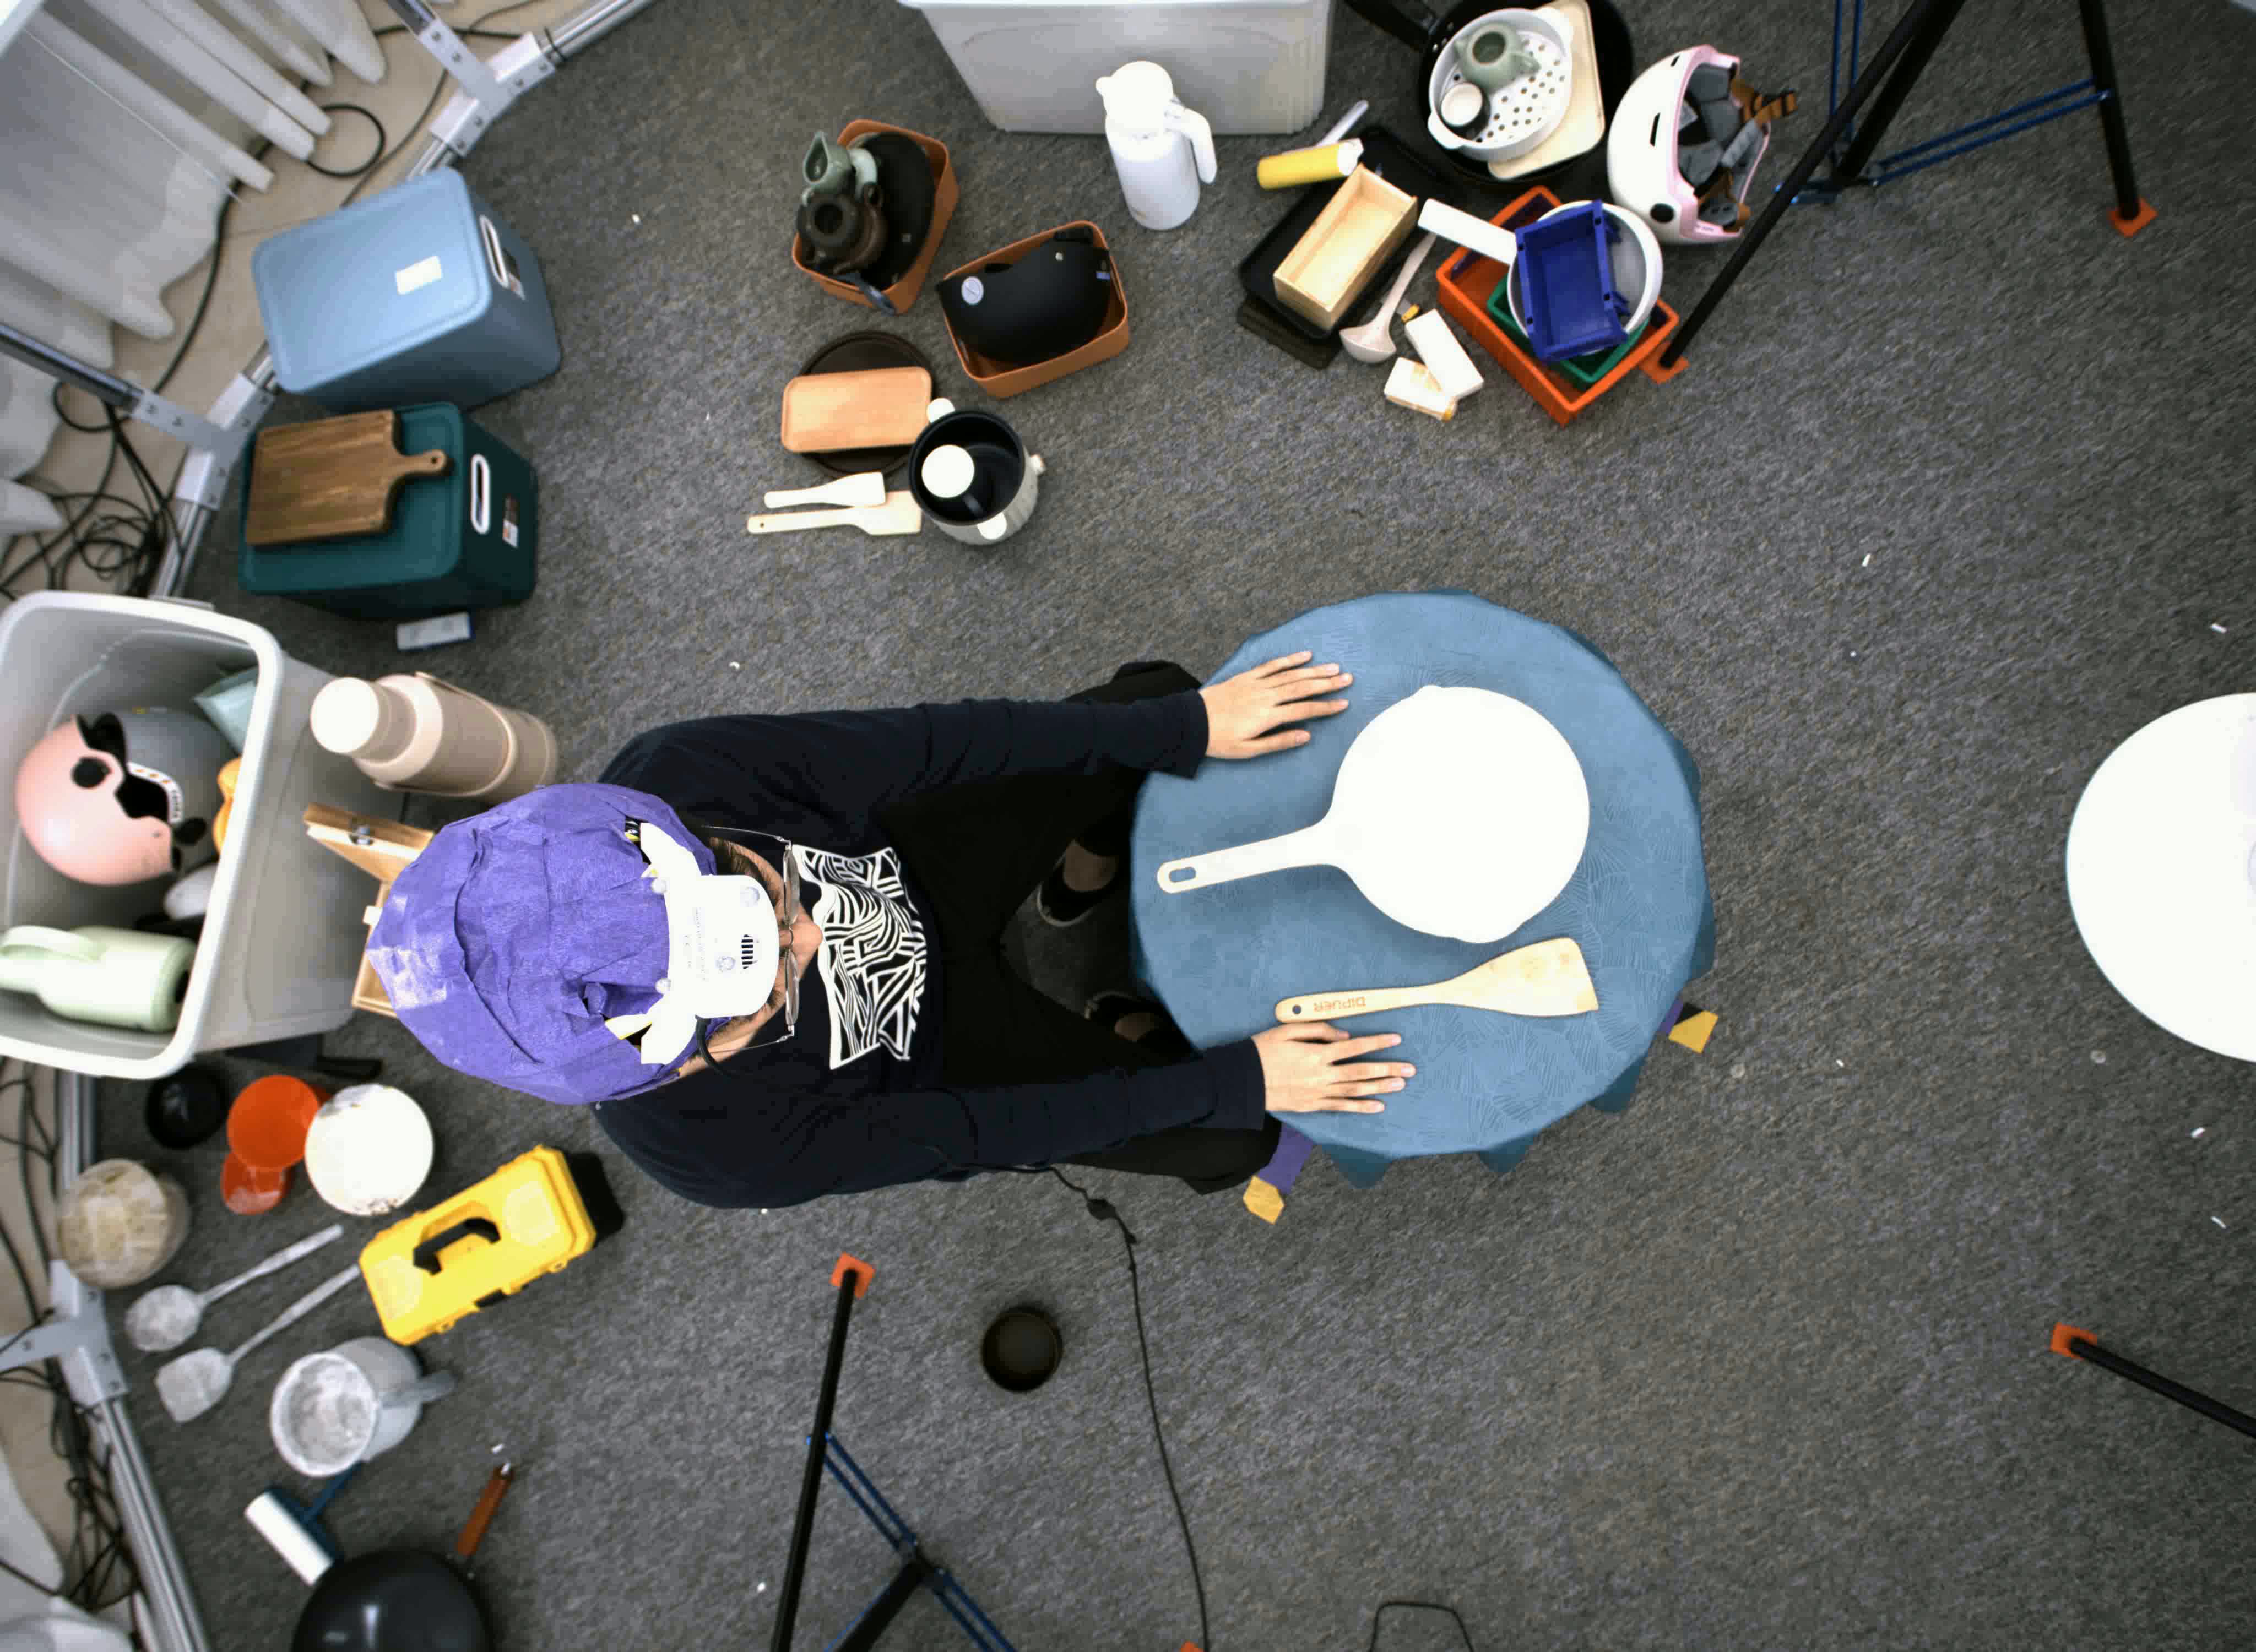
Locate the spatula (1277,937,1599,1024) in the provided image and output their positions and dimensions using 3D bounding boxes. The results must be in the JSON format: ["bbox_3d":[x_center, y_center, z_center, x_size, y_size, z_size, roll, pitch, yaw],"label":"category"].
[{"bbox_3d":[0.318,0.171,1.438,0.329,0.016,0.079,-9,85,10],"label":"spatula"}]

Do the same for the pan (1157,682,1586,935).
[{"bbox_3d":[0.245,0.005,1.419,0.437,0.102,0.262,-15,84,10],"label":"pan"}]
